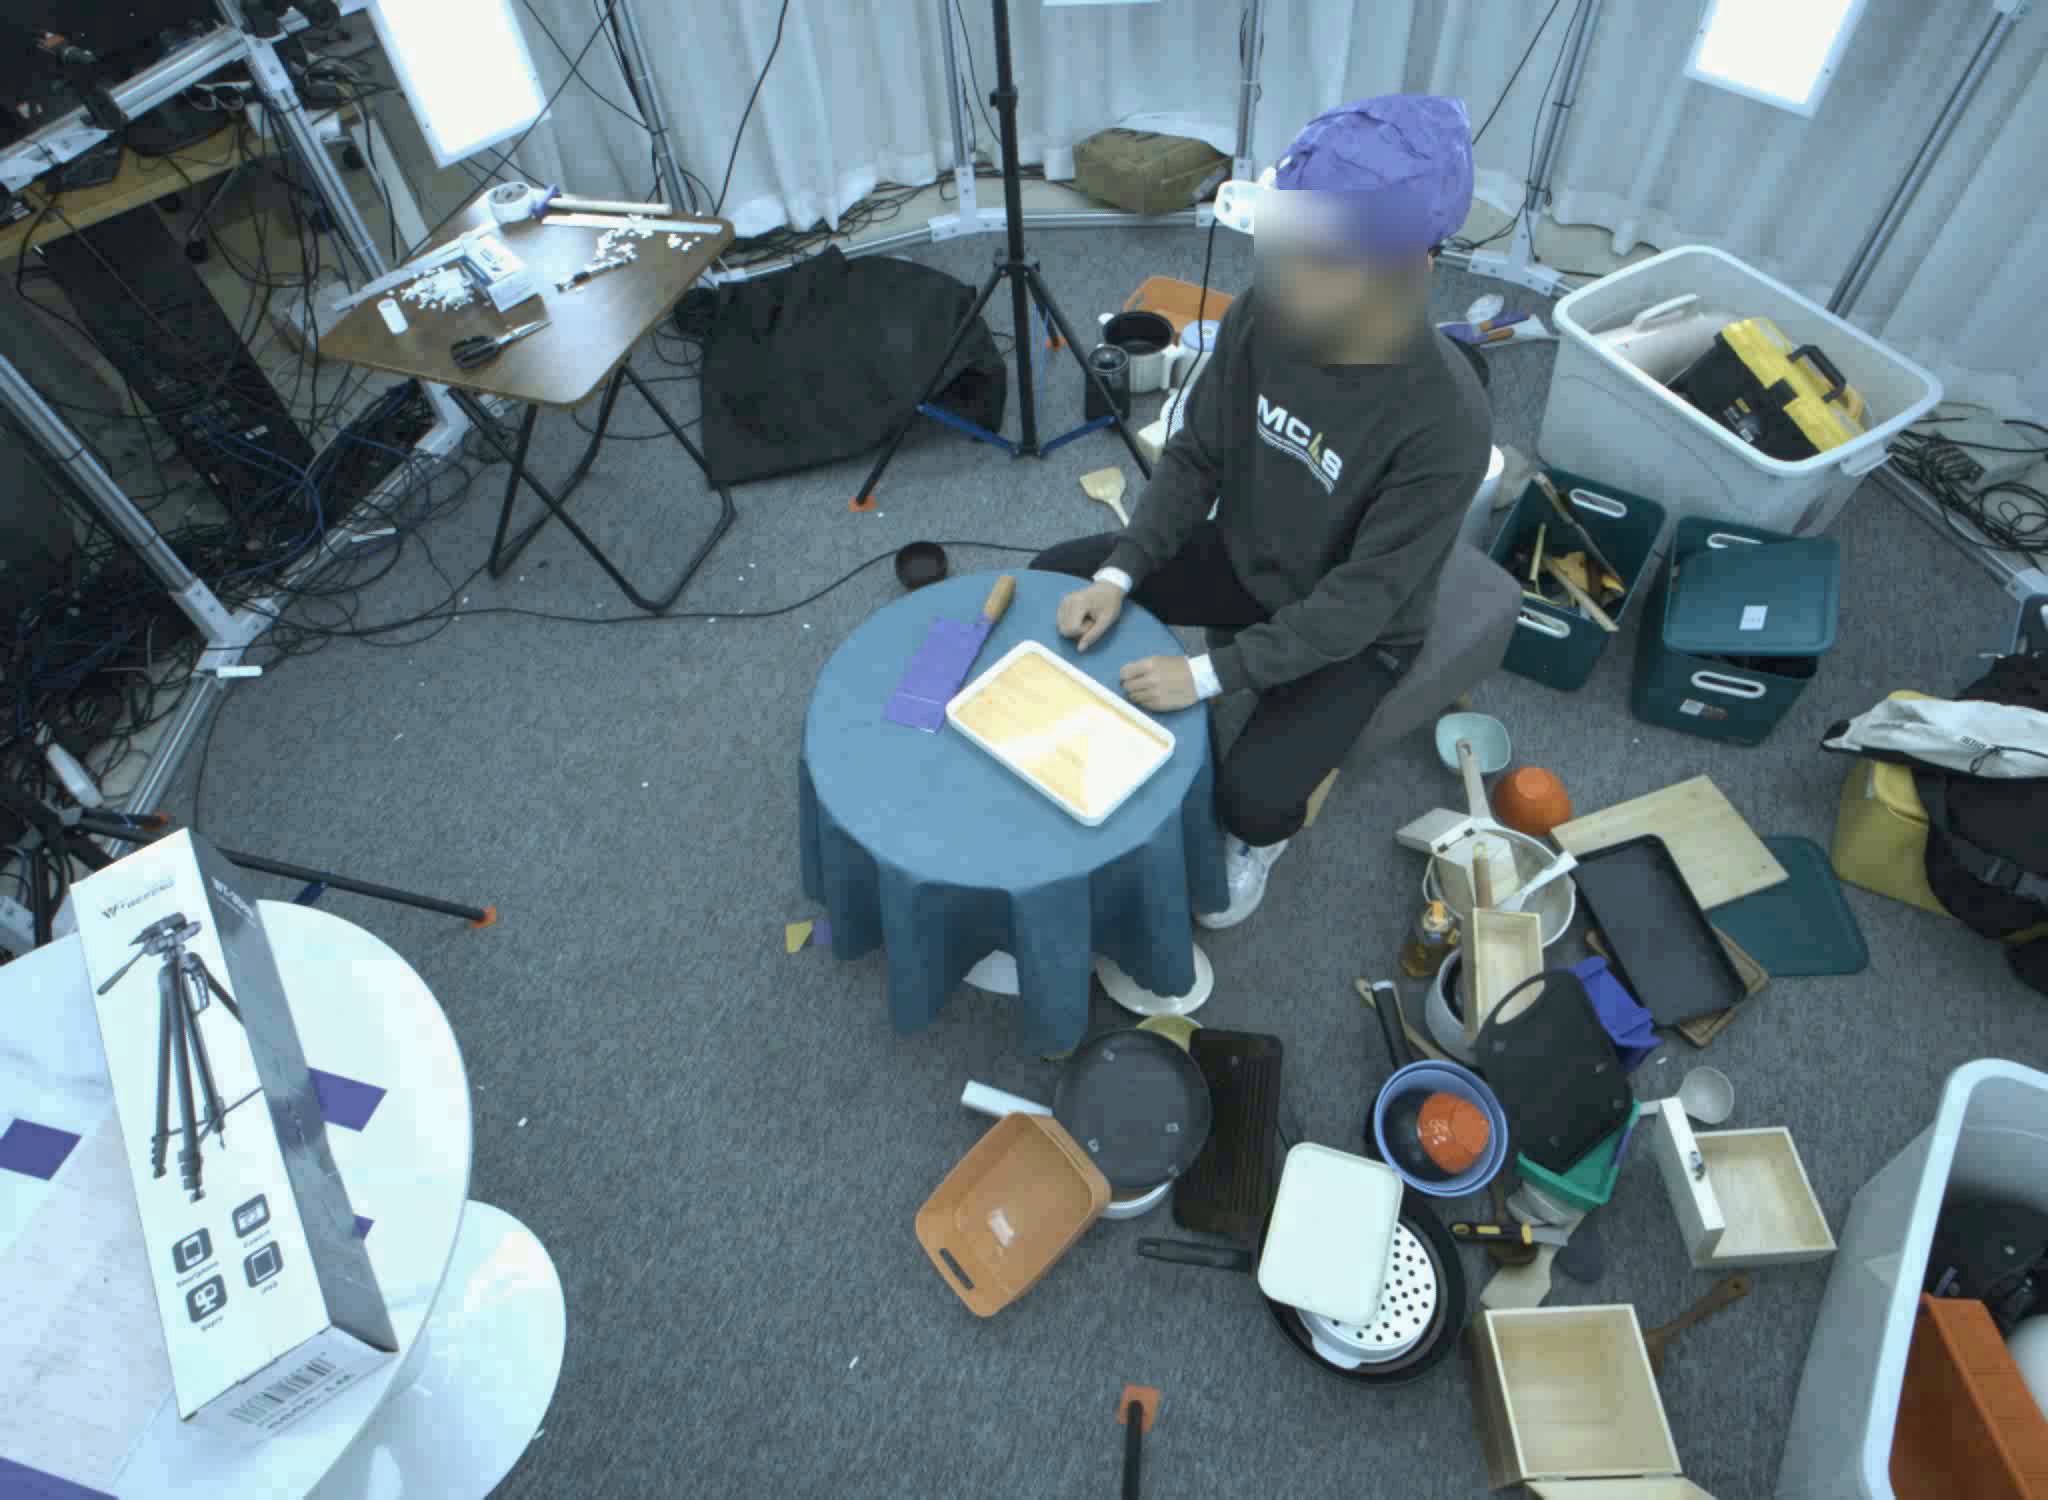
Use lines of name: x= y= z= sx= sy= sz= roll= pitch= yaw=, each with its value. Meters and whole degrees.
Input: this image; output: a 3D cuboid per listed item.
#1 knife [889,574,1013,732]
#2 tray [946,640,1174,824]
knife: x=-0.114 y=-0.160 z=1.895 sx=0.103 sy=0.032 sz=0.315 roll=17 pitch=57 yaw=12
tray: x=0.051 y=-0.032 z=1.800 sx=0.295 sy=0.028 sz=0.193 roll=37 pitch=62 yaw=24
